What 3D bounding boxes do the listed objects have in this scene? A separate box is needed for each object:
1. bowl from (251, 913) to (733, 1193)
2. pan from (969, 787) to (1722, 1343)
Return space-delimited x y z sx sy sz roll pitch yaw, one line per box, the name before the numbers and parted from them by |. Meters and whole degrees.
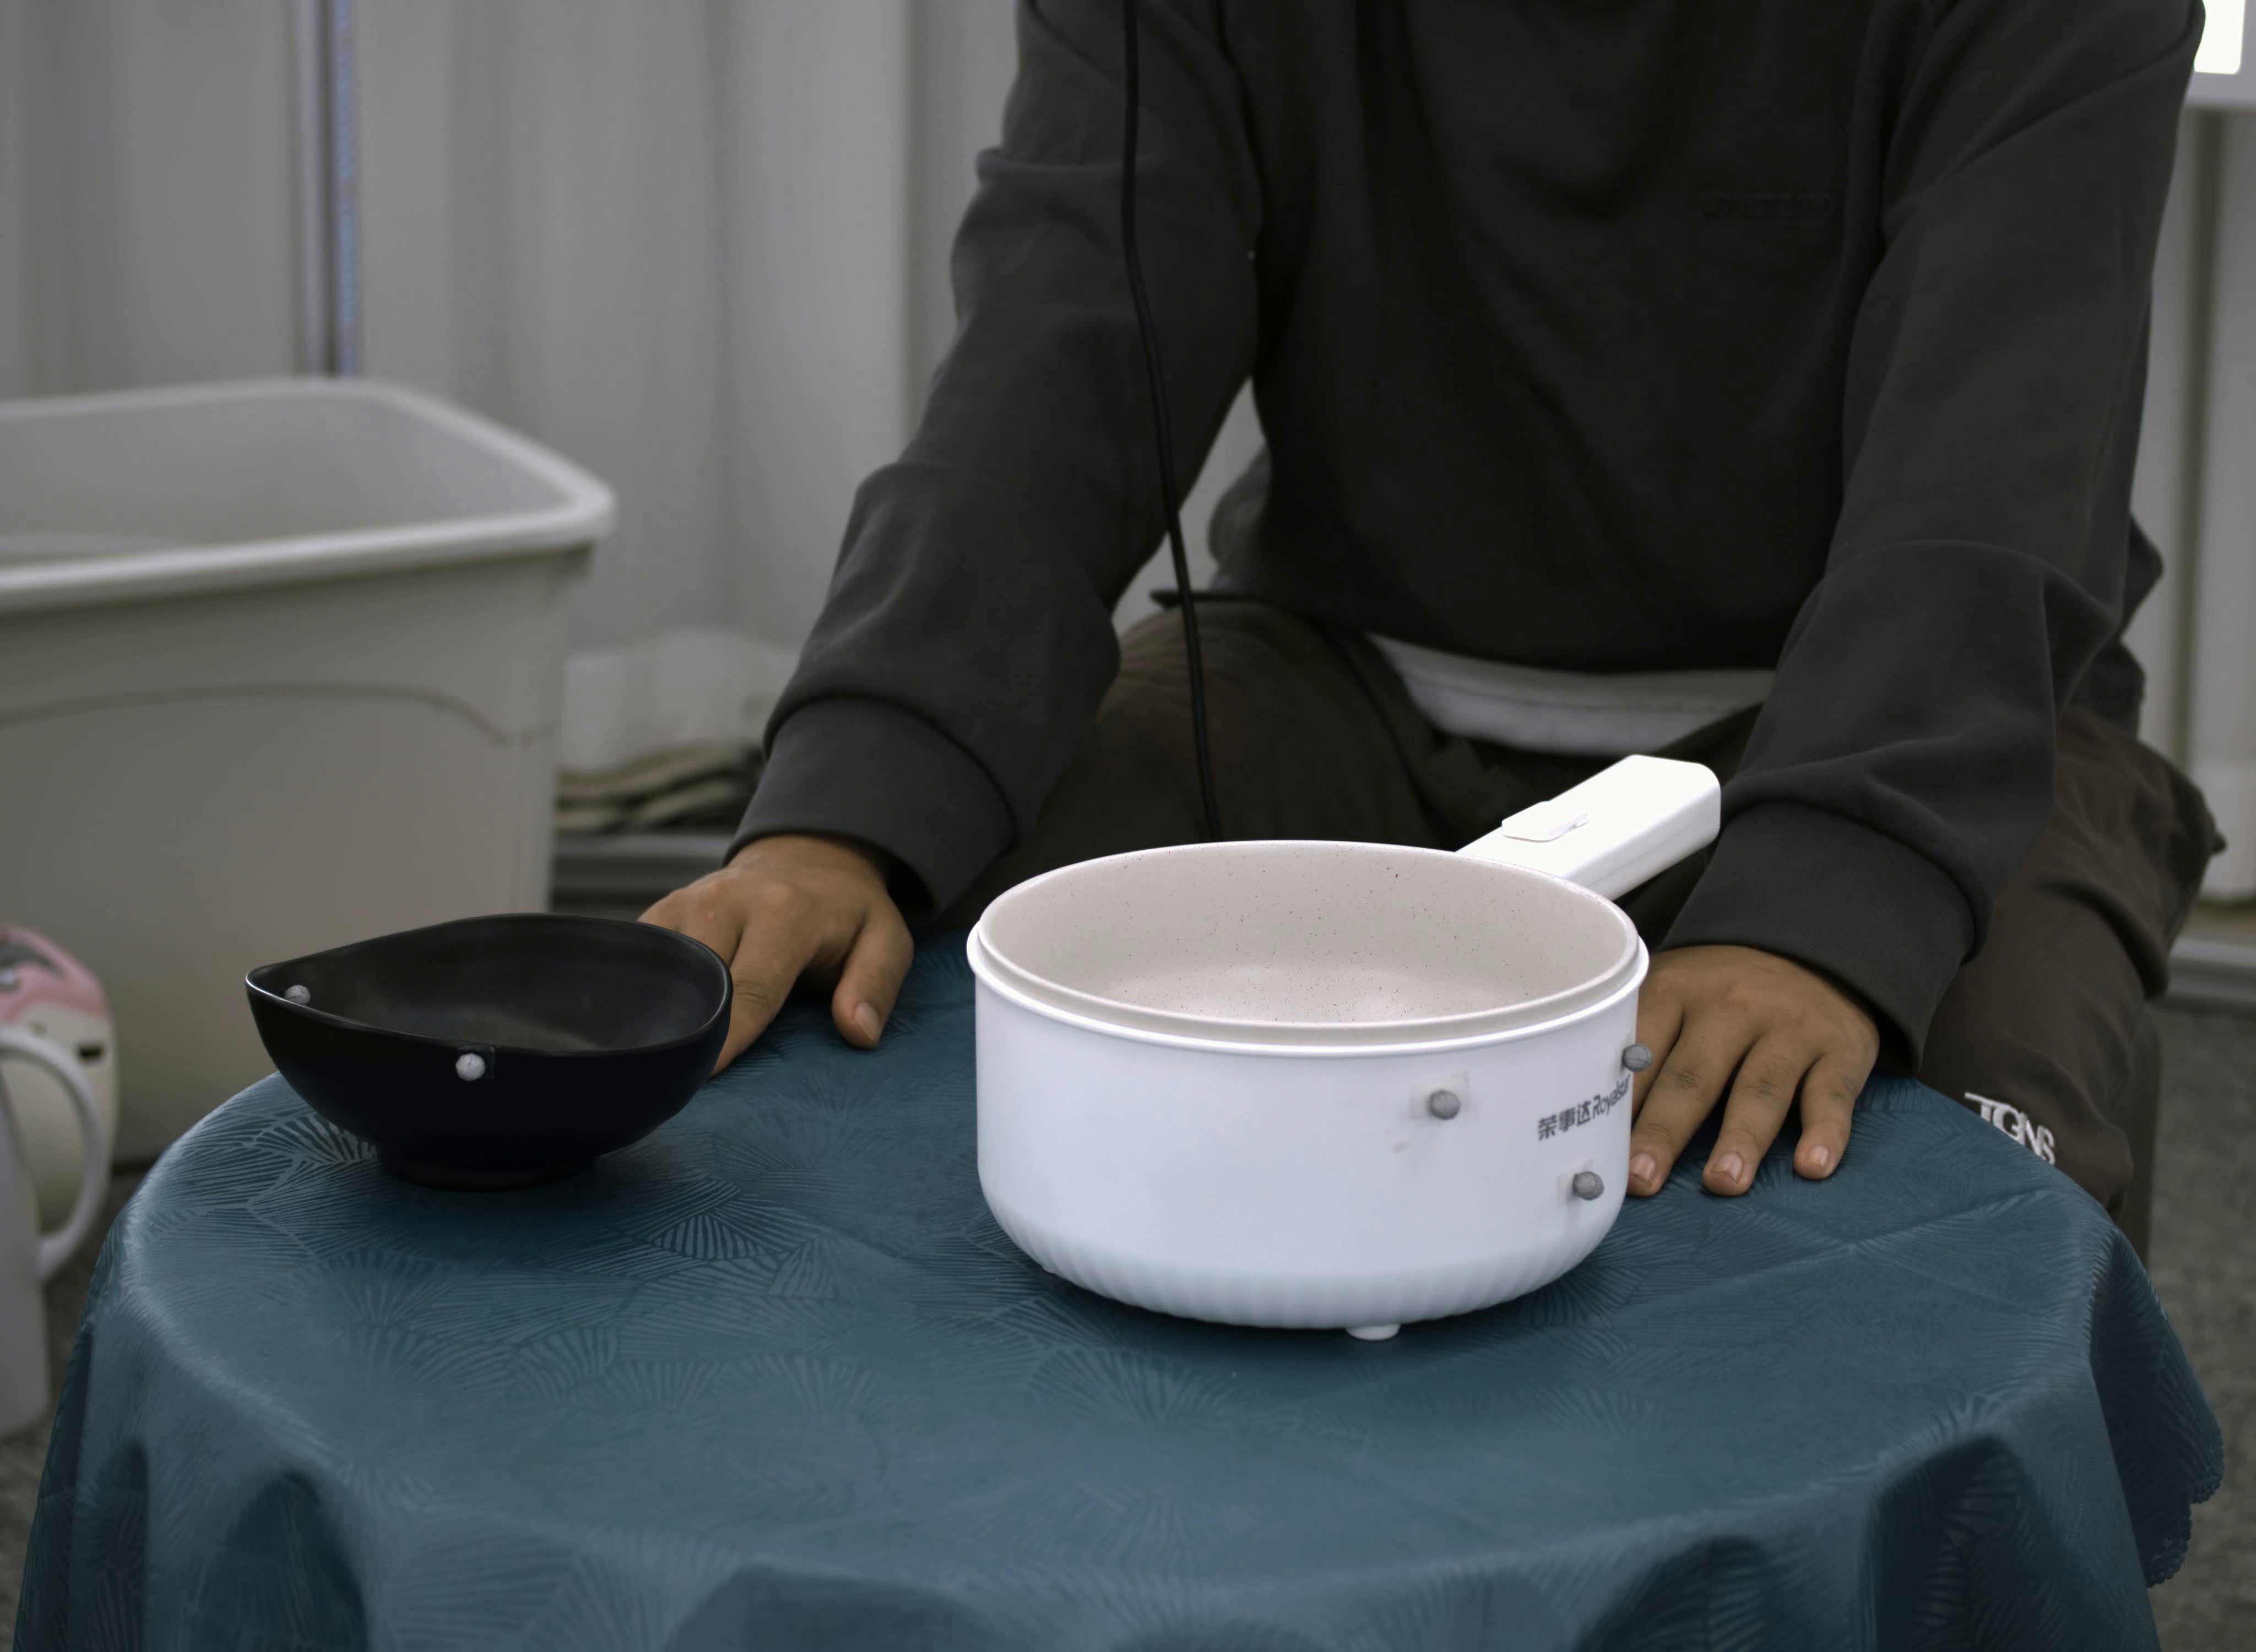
bowl | -0.198 0.074 1.635 0.168 0.067 0.138 12 19 40
pan | 0.091 0.067 1.629 0.199 0.103 0.356 7 15 29
